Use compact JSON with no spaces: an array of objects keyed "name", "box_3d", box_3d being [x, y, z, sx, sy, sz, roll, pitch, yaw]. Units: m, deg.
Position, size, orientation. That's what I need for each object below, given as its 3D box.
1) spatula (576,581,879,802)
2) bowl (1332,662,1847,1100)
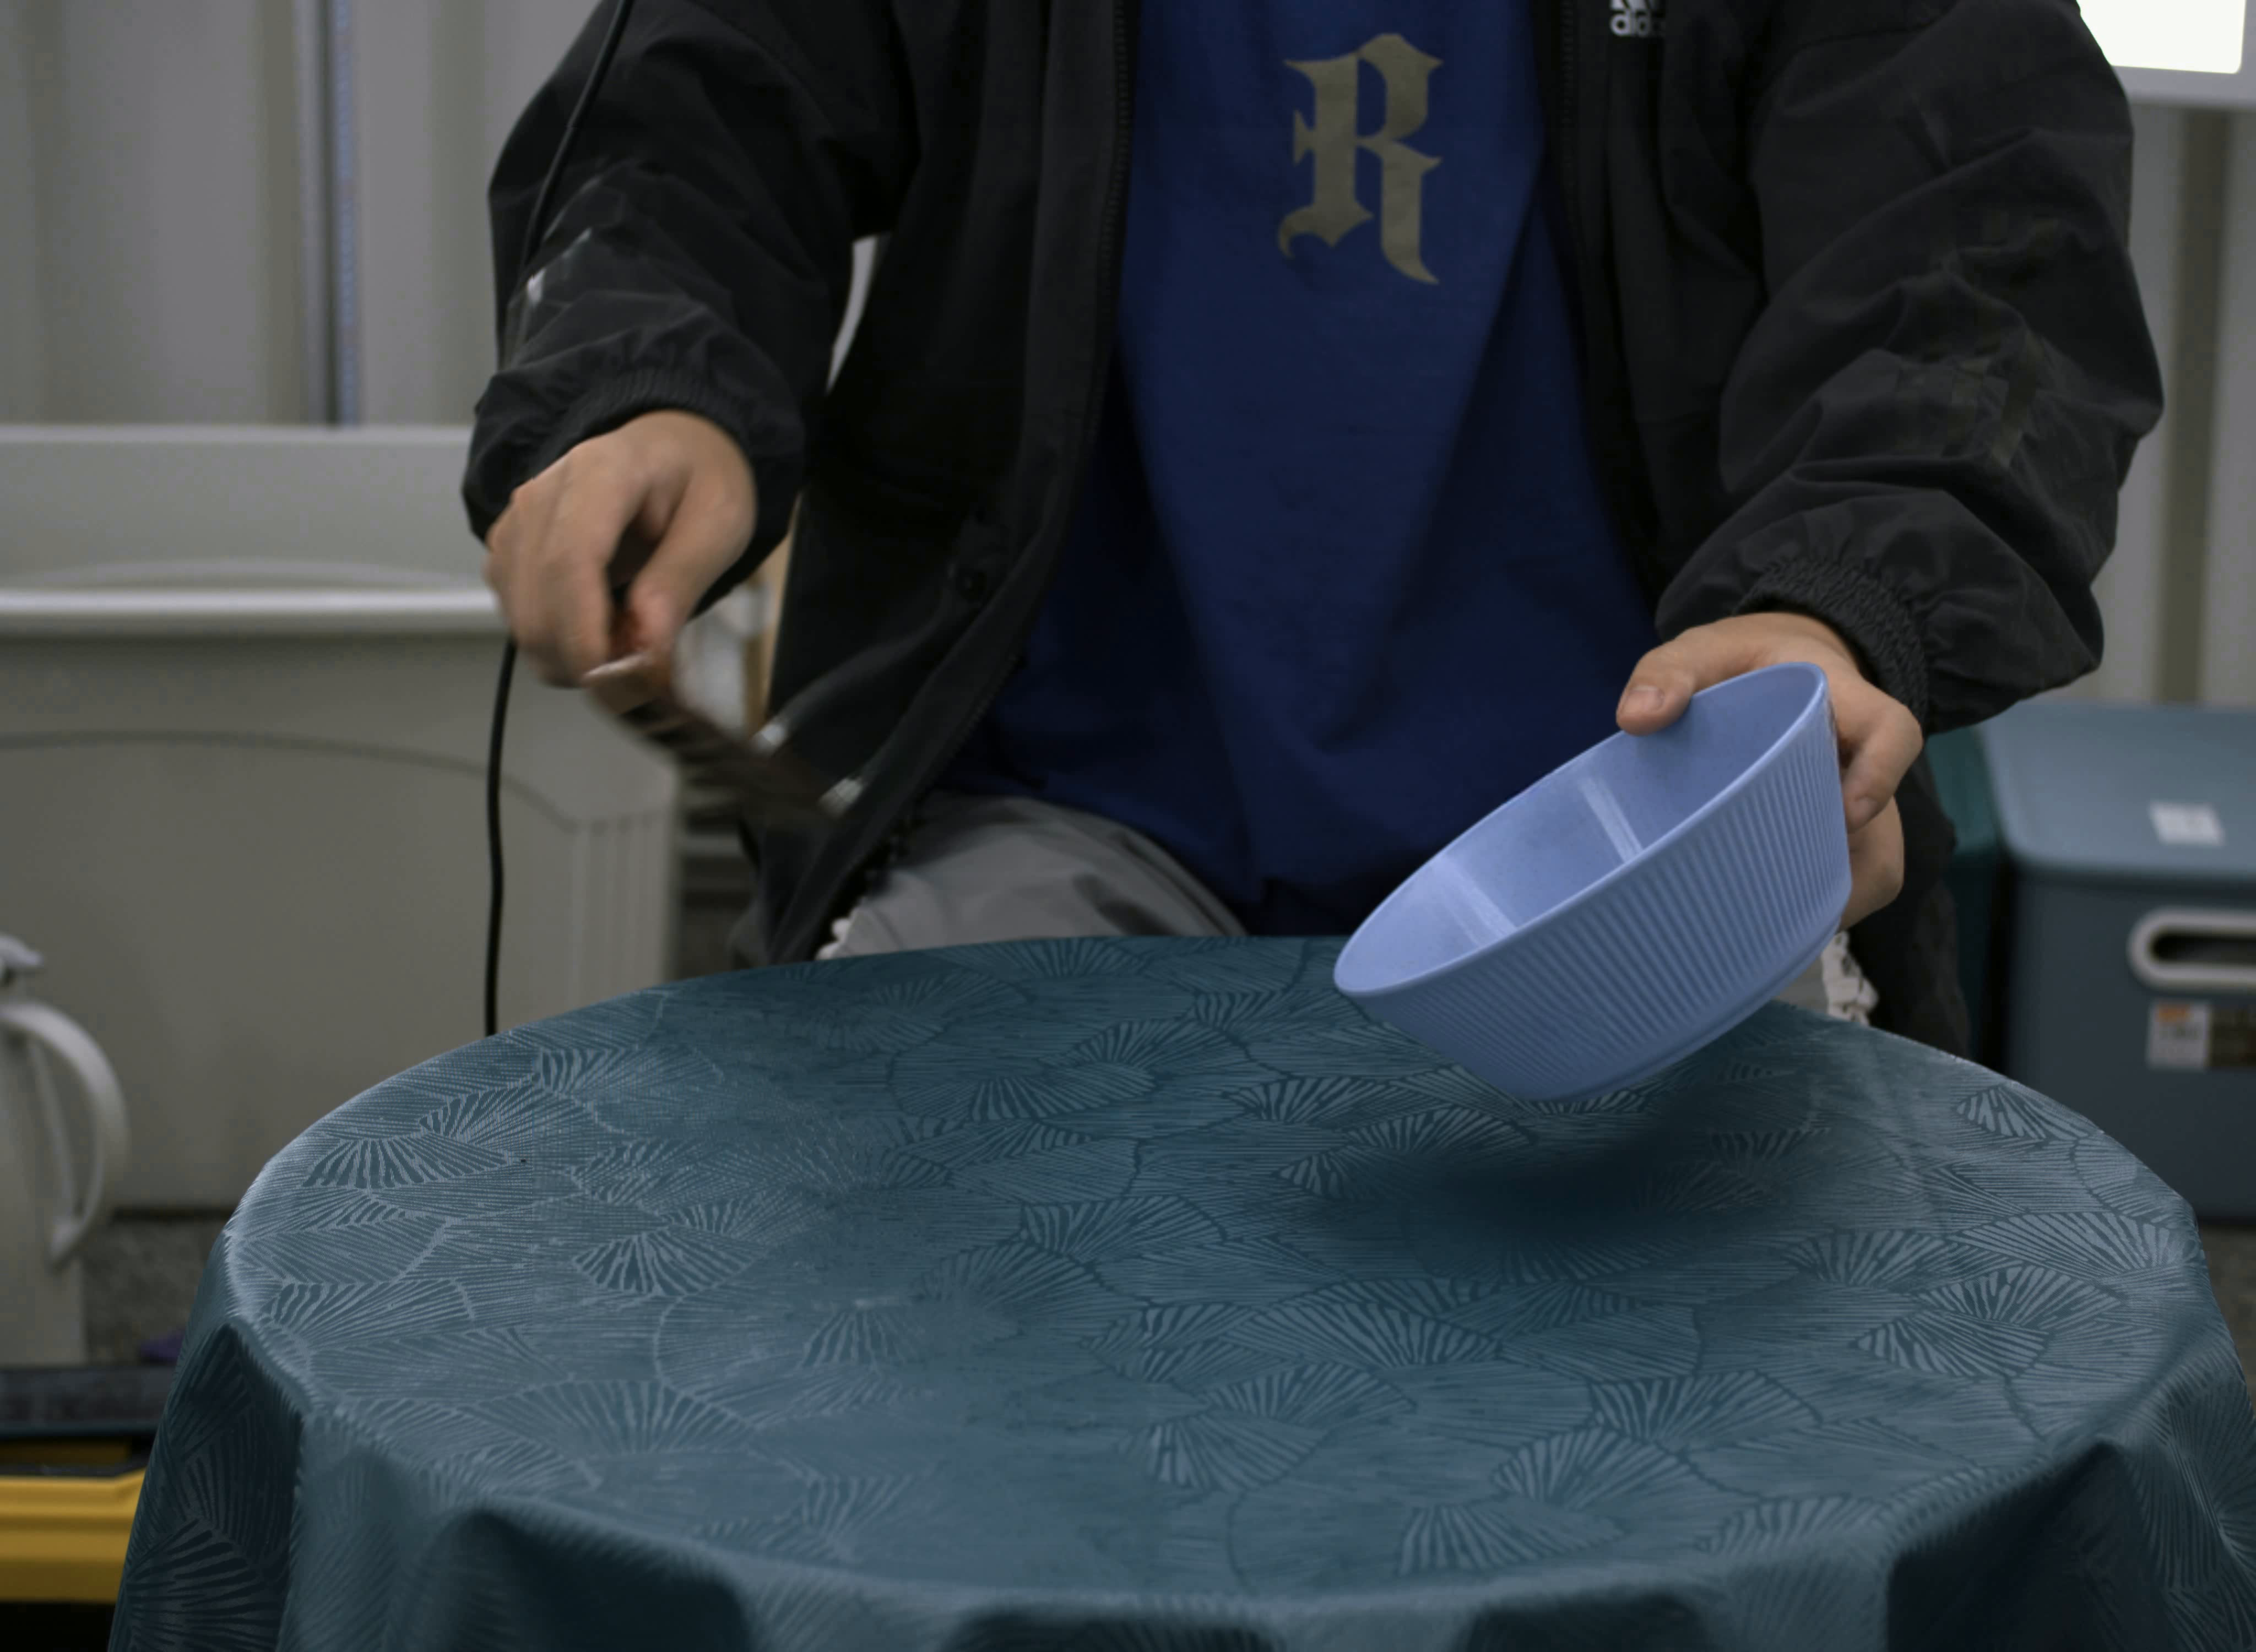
[{"name":"spatula","box_3d":[-0.147,-0.050,1.686,0.086,0.024,0.384,32,1,-15]},{"name":"bowl","box_3d":[0.152,0.025,1.604,0.176,0.070,0.175,-32,8,6]}]
